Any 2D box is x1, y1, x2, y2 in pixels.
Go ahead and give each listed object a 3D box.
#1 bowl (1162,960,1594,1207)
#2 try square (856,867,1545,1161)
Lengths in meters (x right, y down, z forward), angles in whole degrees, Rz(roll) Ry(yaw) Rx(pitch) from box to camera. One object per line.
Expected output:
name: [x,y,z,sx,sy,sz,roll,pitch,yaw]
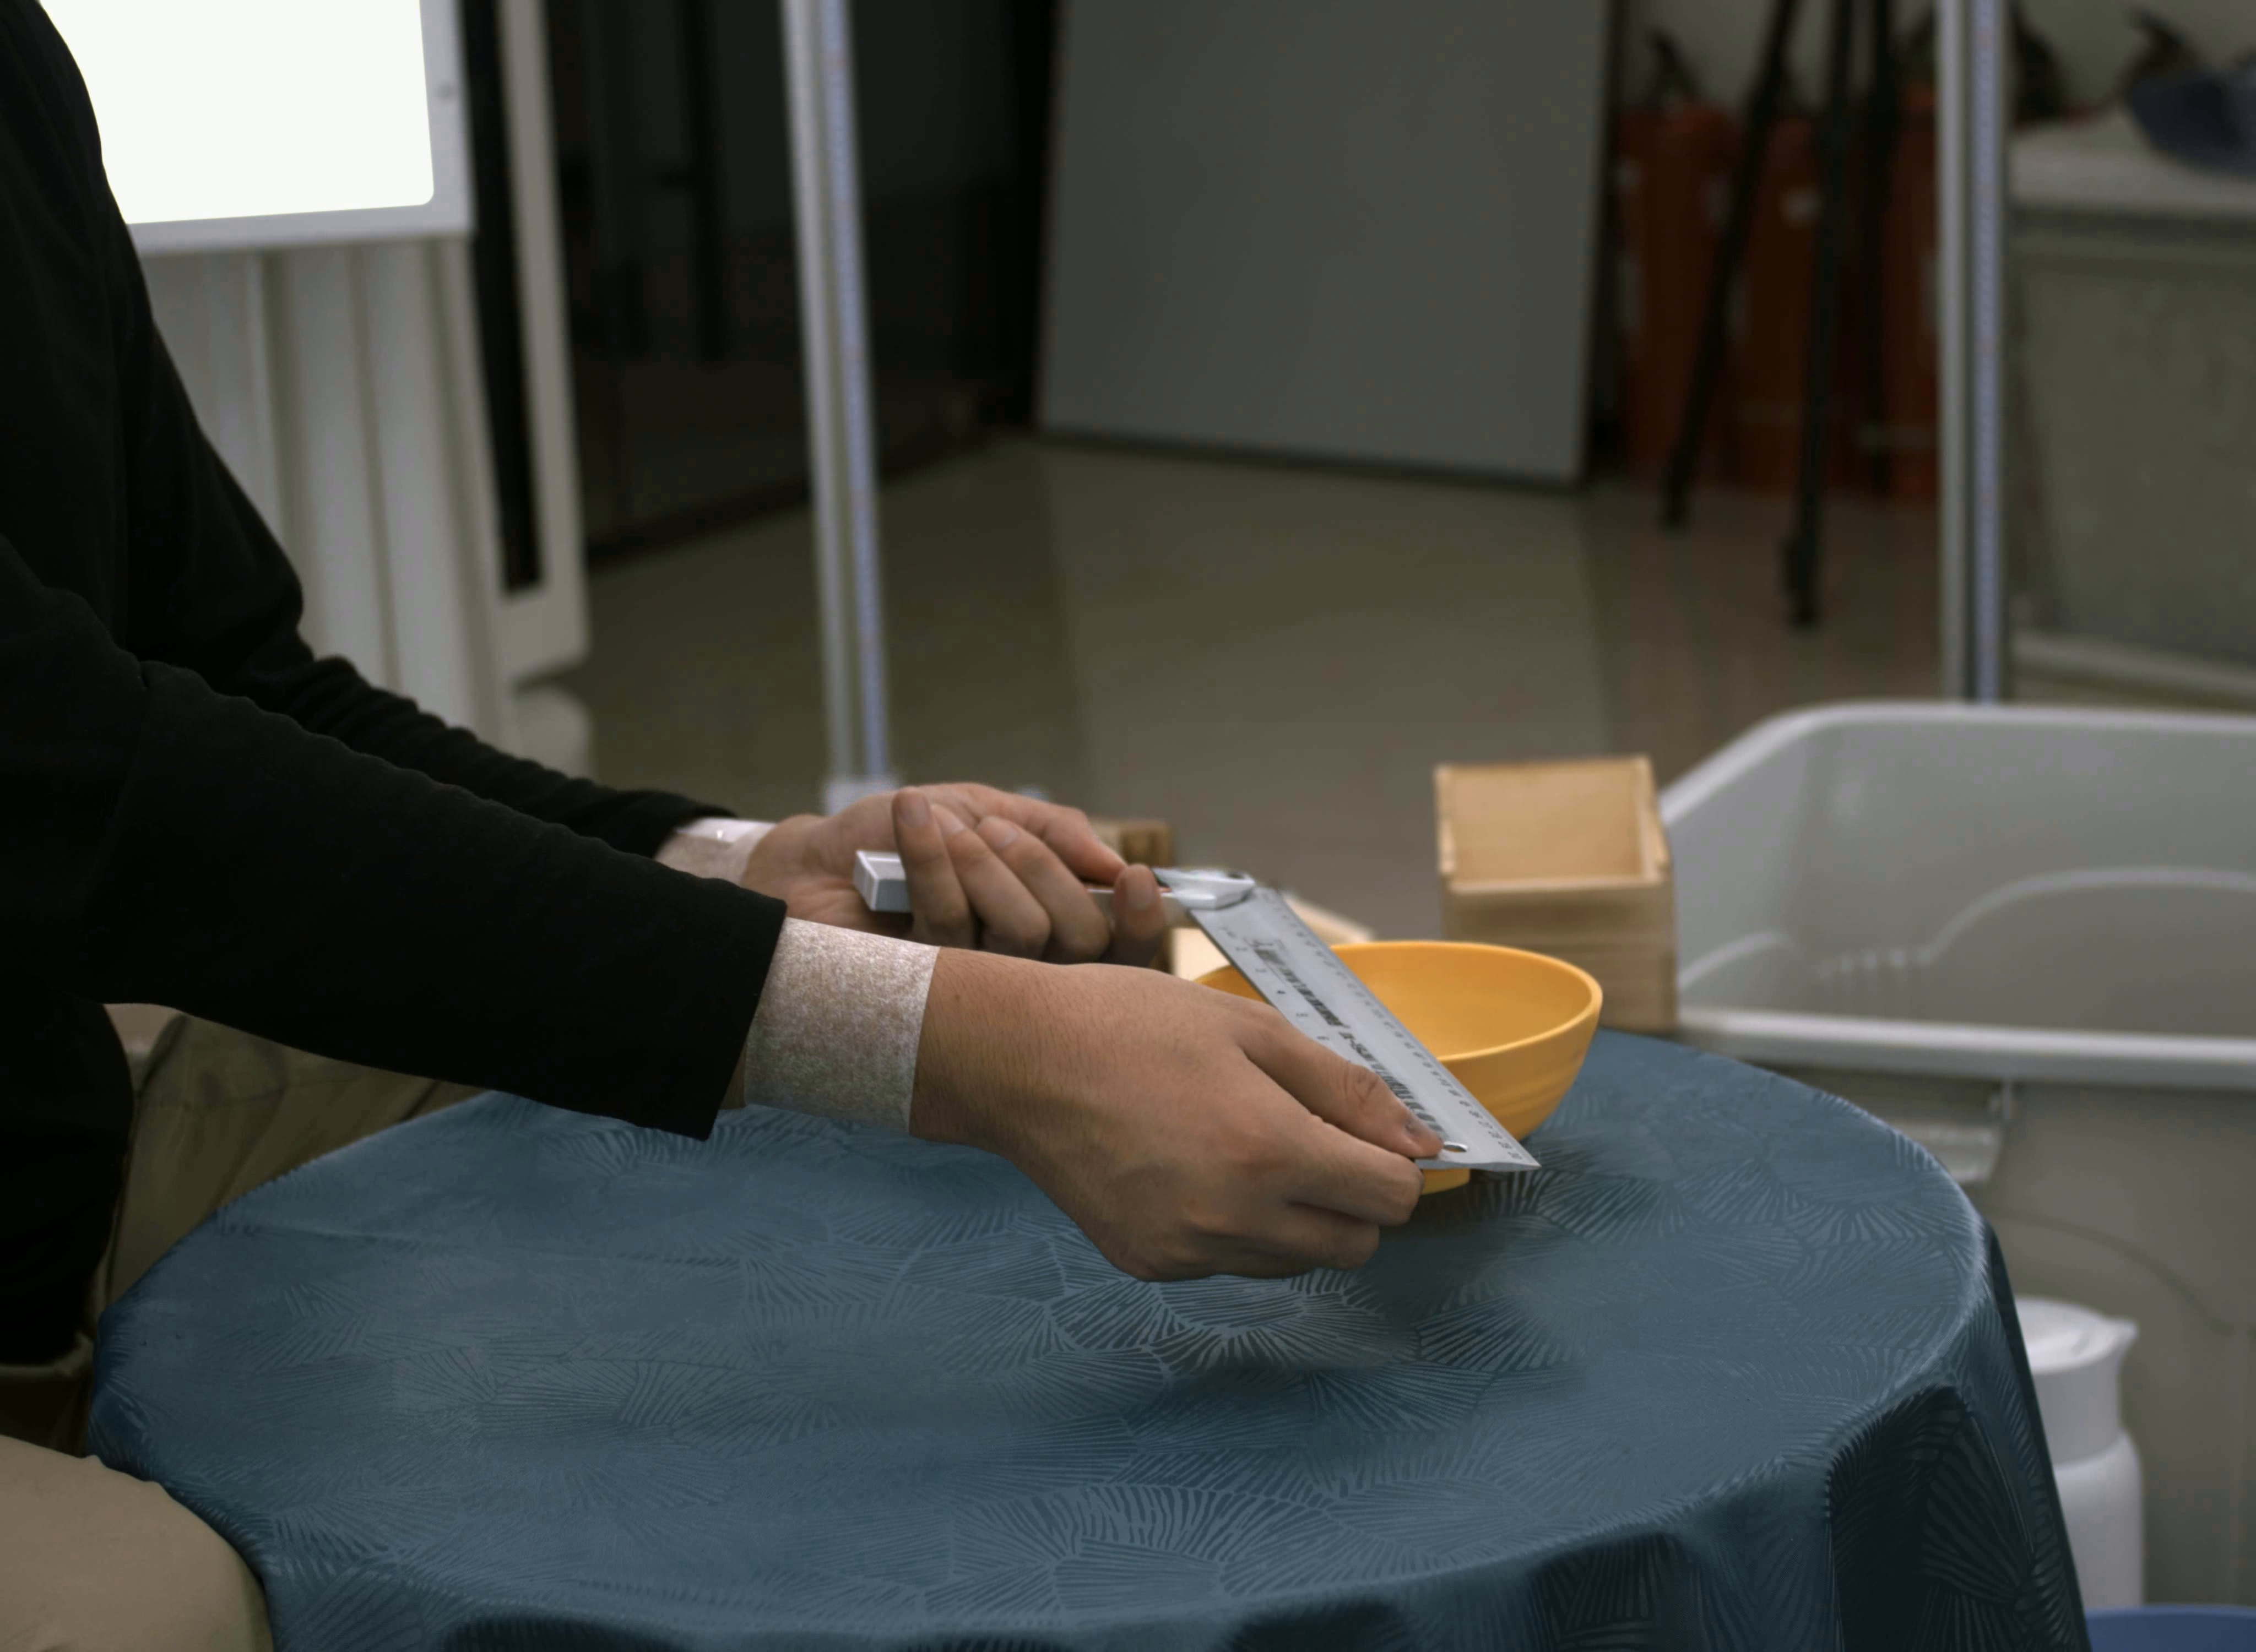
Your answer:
bowl: [0.084,0.087,1.767,0.143,0.061,0.145,-5,11,0]
try square: [0.015,0.058,1.716,0.149,0.016,0.315,0,14,-14]
